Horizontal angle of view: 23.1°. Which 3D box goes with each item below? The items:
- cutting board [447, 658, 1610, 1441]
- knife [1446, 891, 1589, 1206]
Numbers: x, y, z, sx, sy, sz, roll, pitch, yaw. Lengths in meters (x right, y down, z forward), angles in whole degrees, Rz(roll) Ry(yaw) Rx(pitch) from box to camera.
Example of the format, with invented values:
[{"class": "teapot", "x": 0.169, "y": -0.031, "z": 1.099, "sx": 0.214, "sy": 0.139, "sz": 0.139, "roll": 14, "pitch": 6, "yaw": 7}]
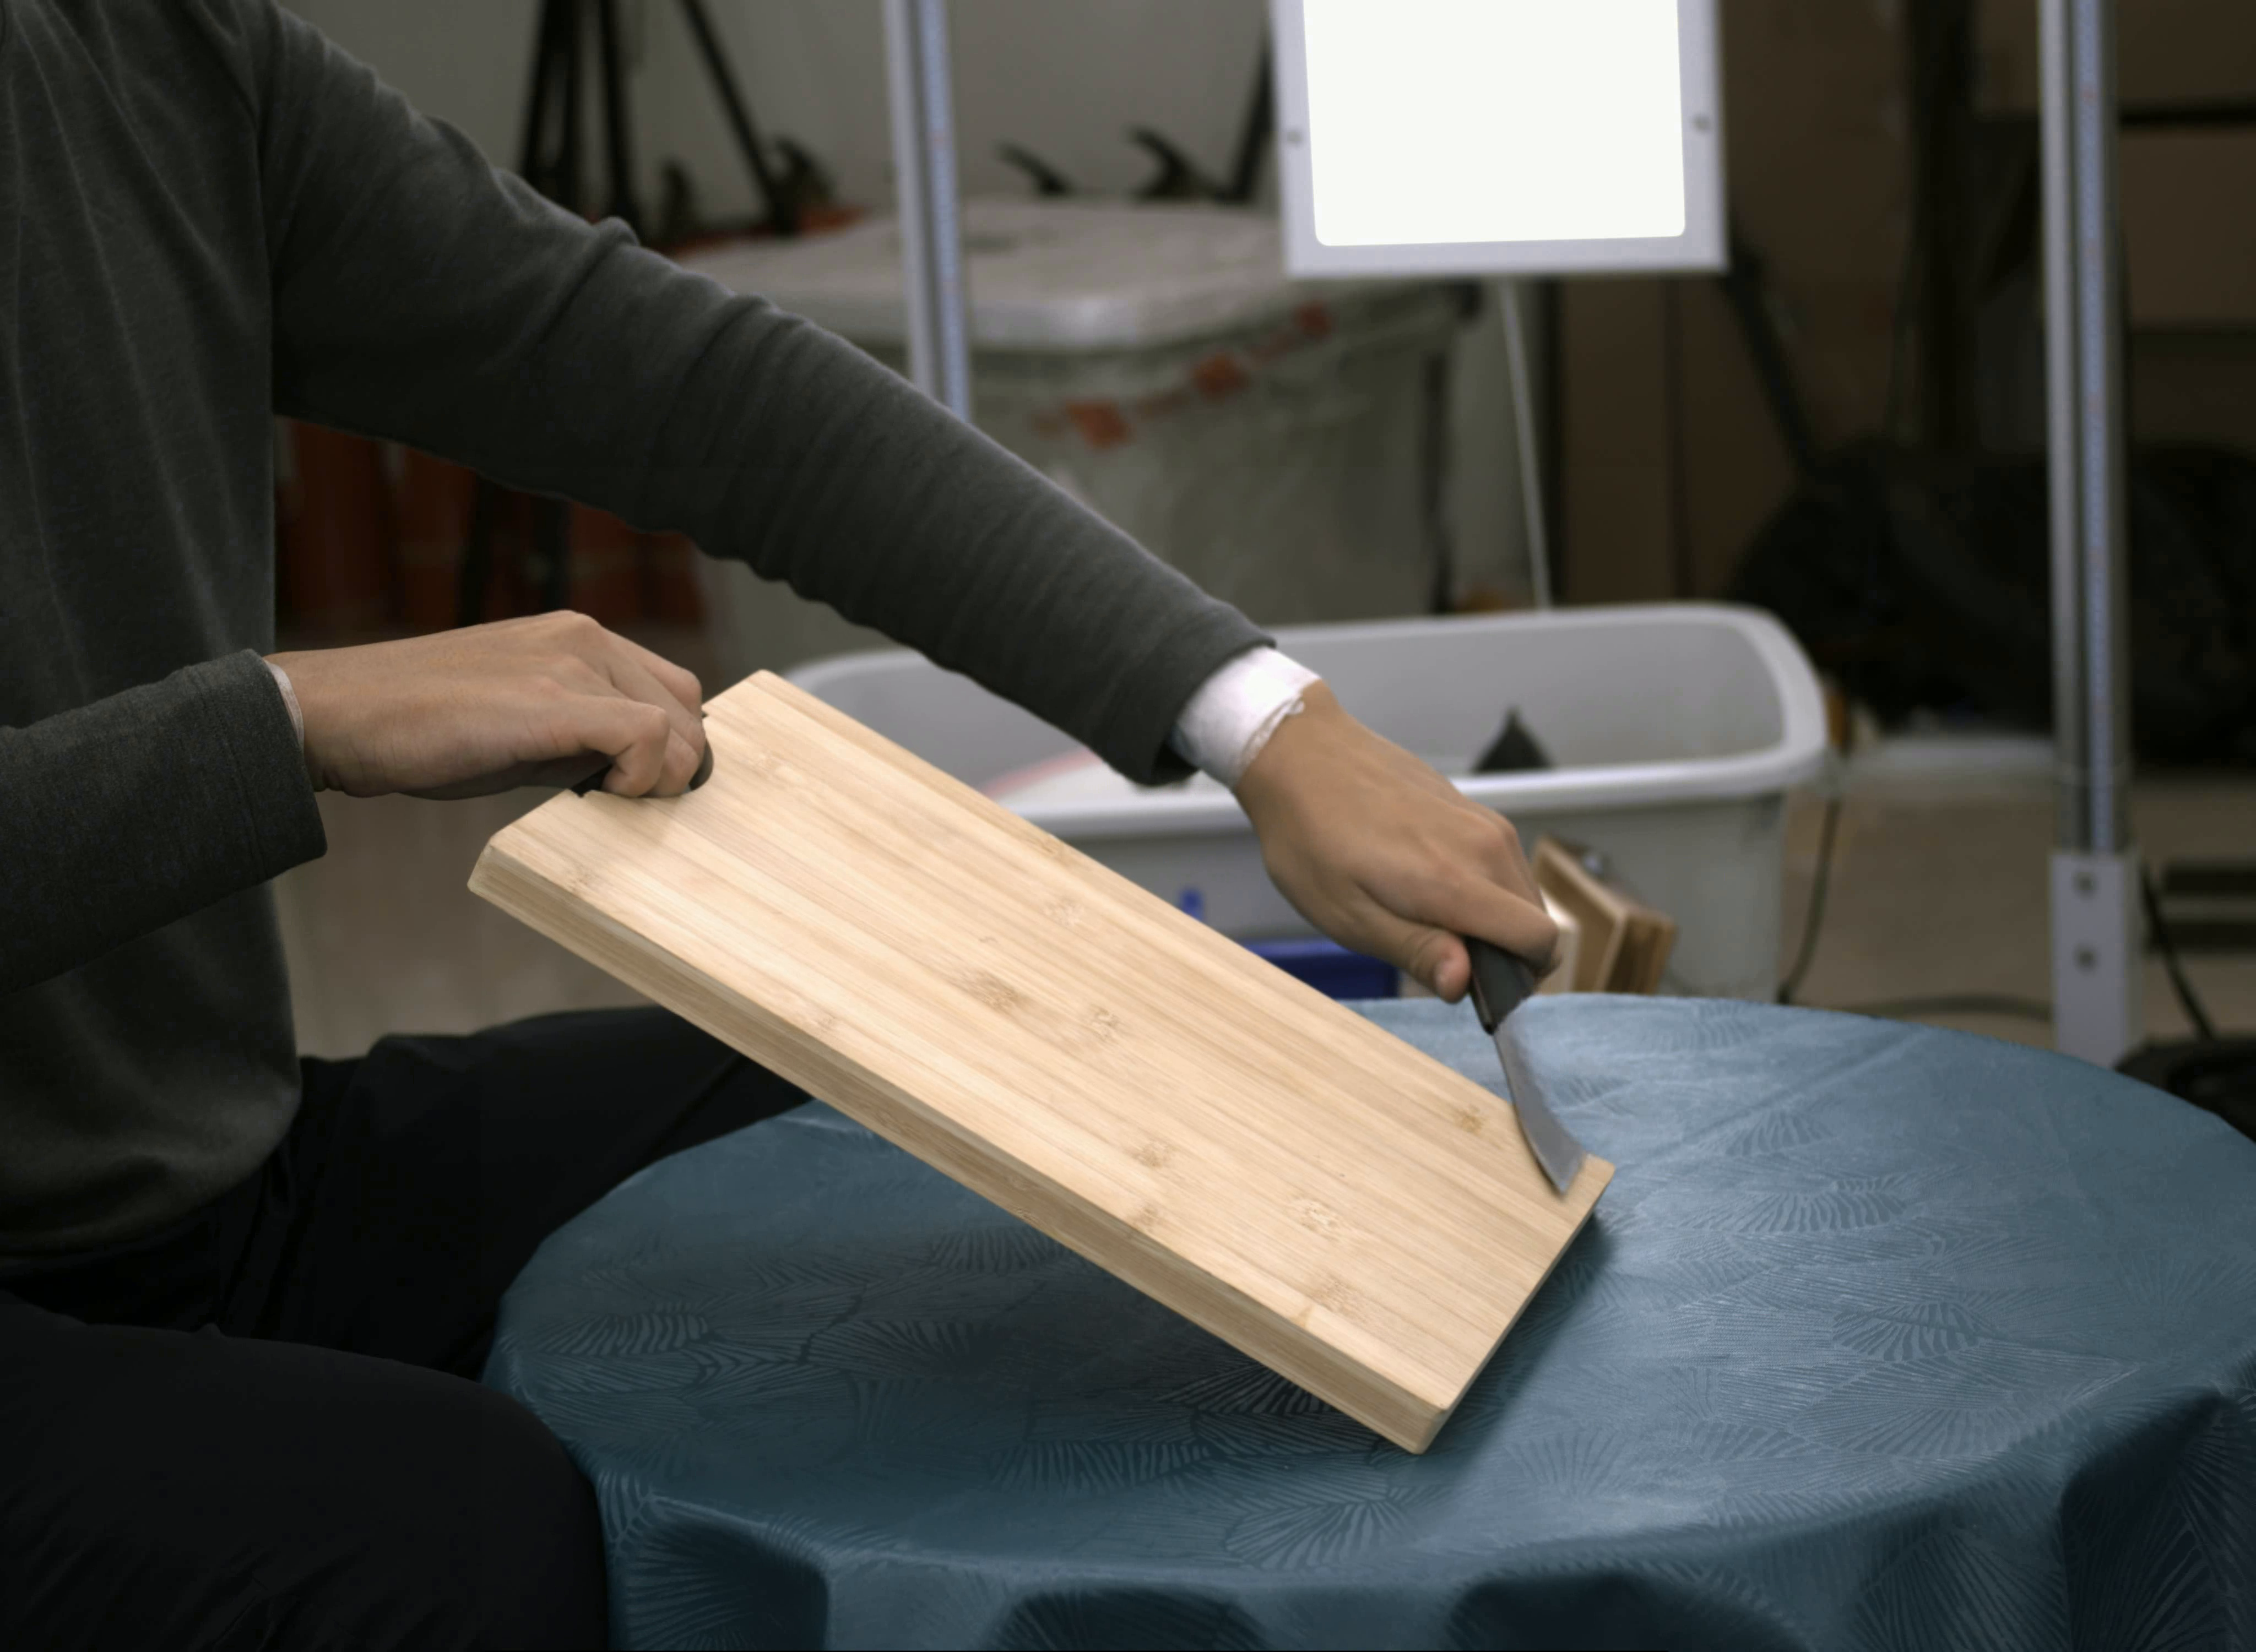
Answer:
[{"class": "cutting board", "x": -0.024, "y": 0.064, "z": 1.762, "sx": 0.350, "sy": 0.024, "sz": 0.246, "roll": 30, "pitch": 21, "yaw": 9}, {"class": "knife", "x": 0.135, "y": 0.075, "z": 1.894, "sx": 0.024, "sy": 0.016, "sz": 0.238, "roll": 23, "pitch": 19, "yaw": -15}]
